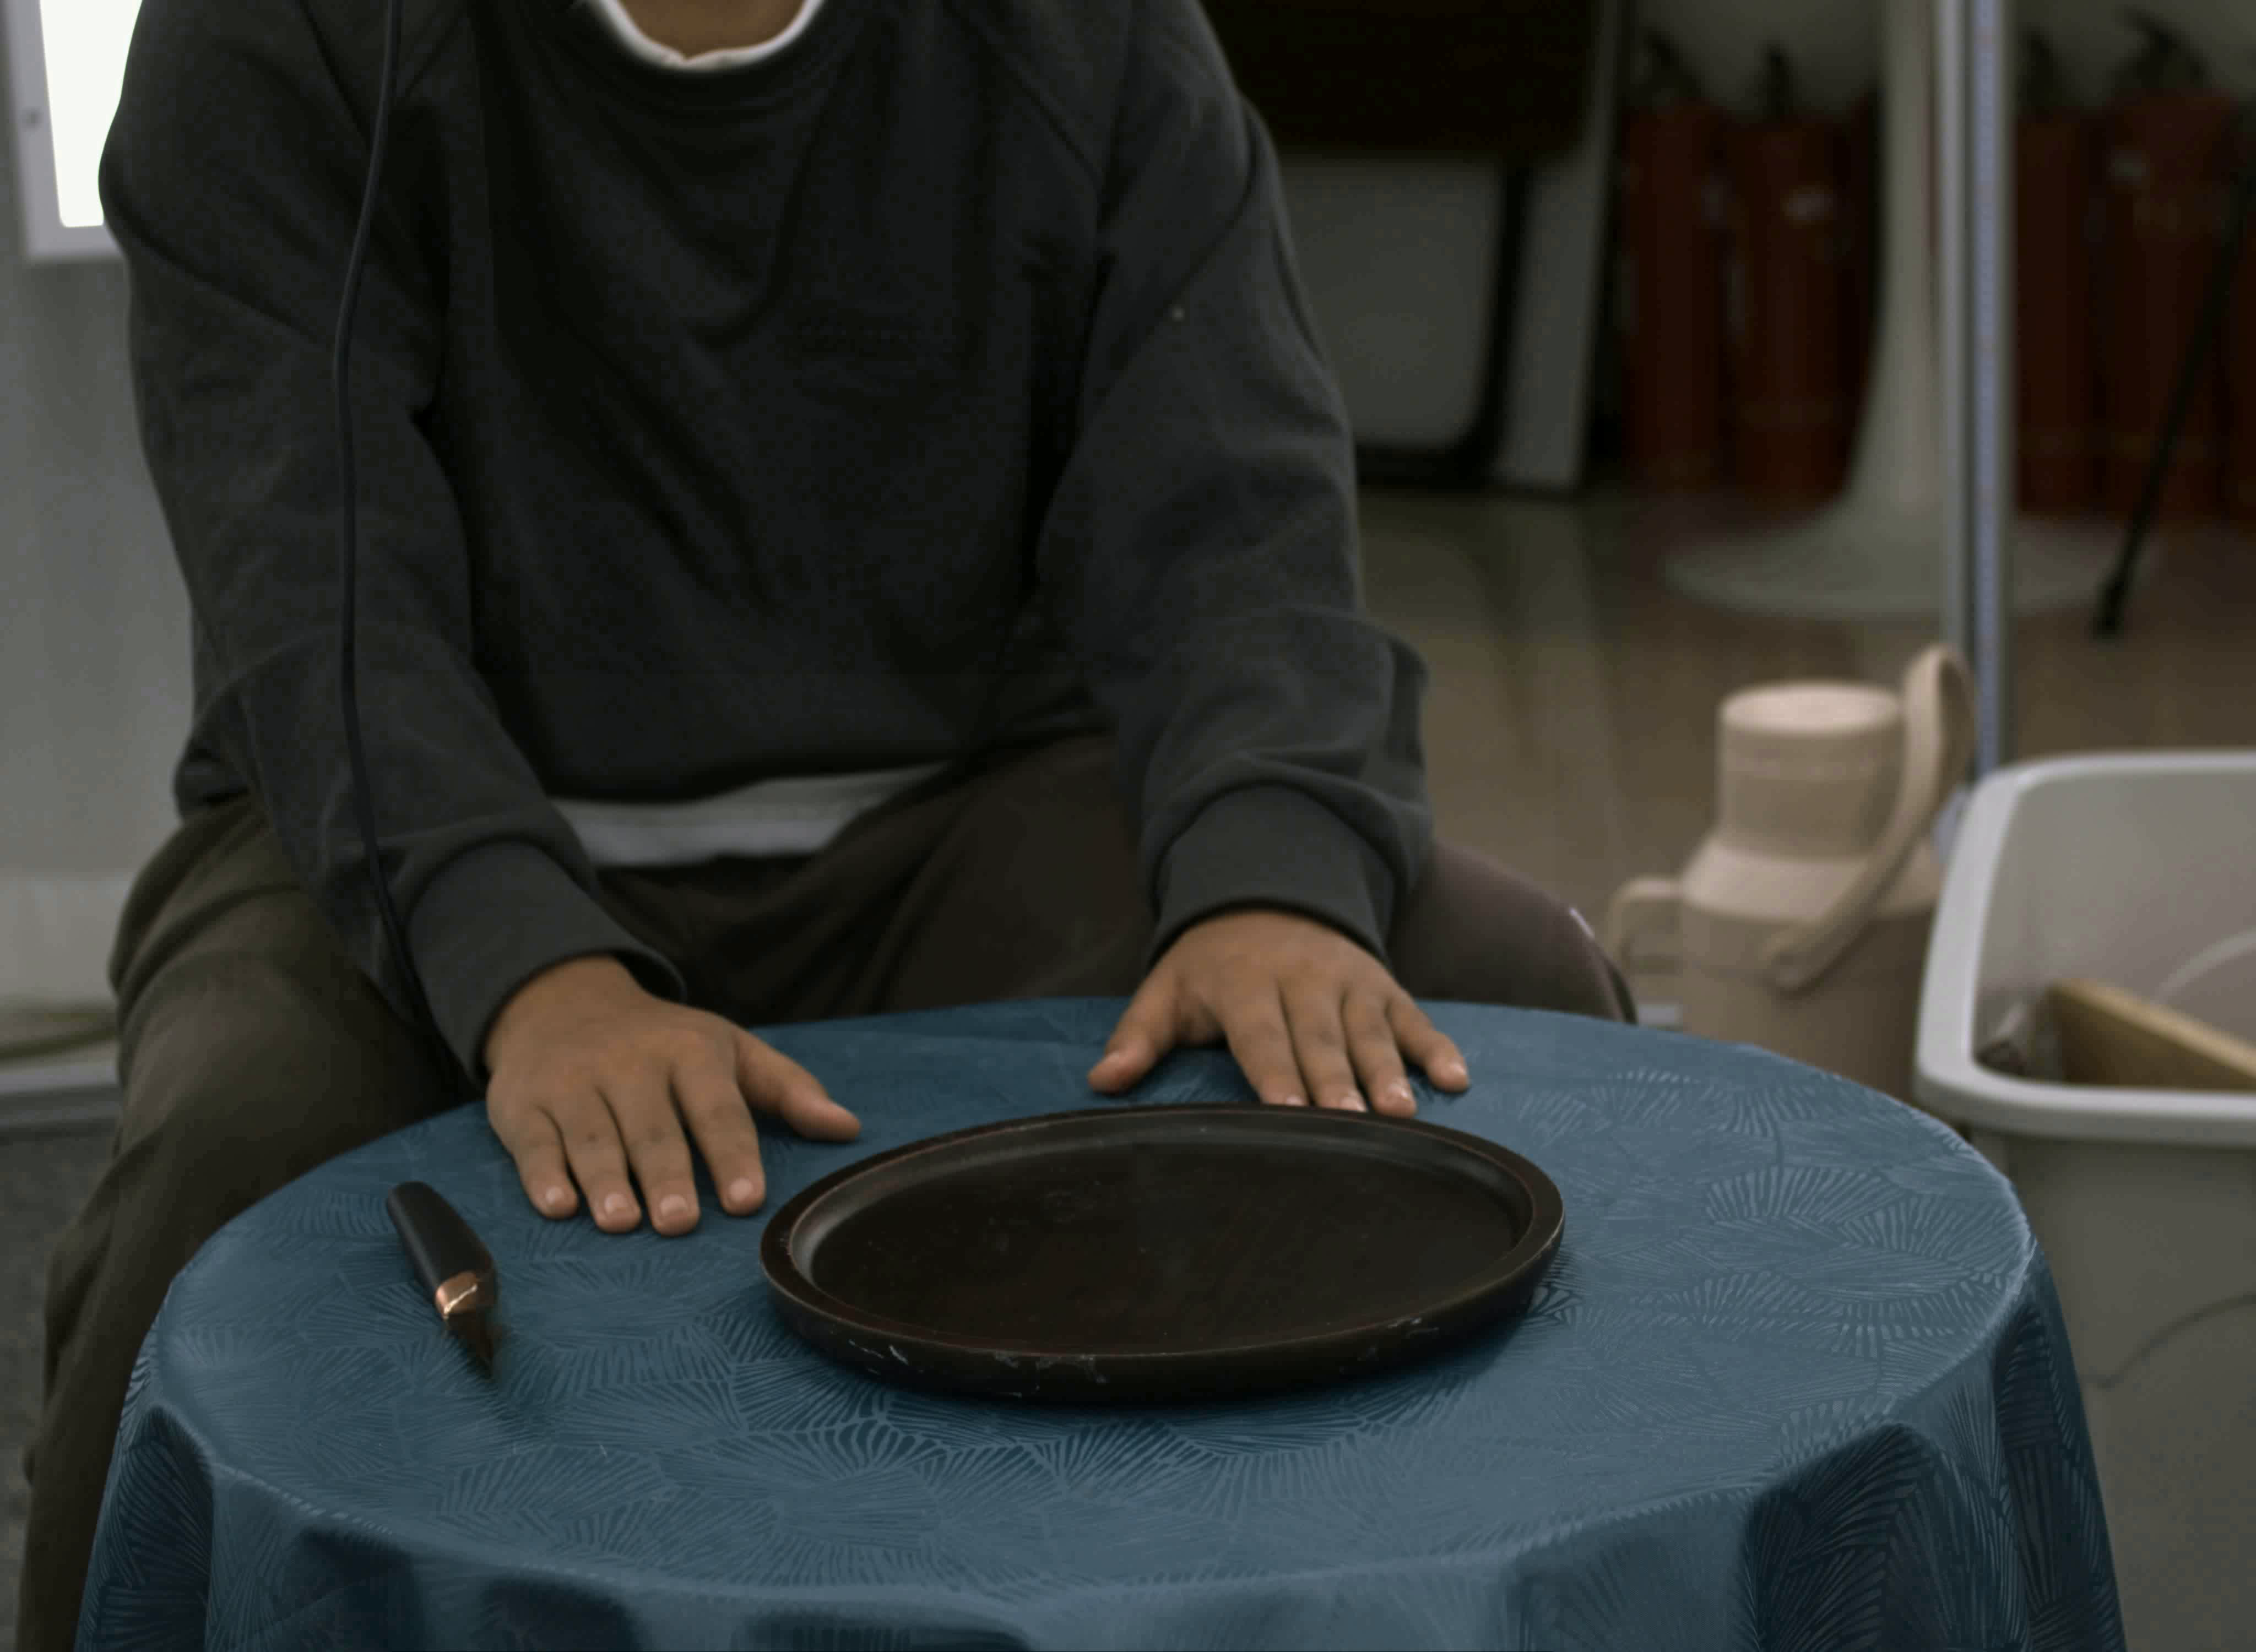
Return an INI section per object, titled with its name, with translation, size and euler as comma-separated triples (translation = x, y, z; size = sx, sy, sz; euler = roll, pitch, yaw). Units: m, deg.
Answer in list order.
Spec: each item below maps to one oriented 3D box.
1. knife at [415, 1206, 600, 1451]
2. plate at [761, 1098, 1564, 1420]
[knife]
translation = -0.193, 0.155, 1.671
size = 0.025, 0.017, 0.227
euler = -3, 14, -16
[plate]
translation = 0.011, 0.133, 1.678
size = 0.251, 0.029, 0.255
euler = -6, 13, 0
